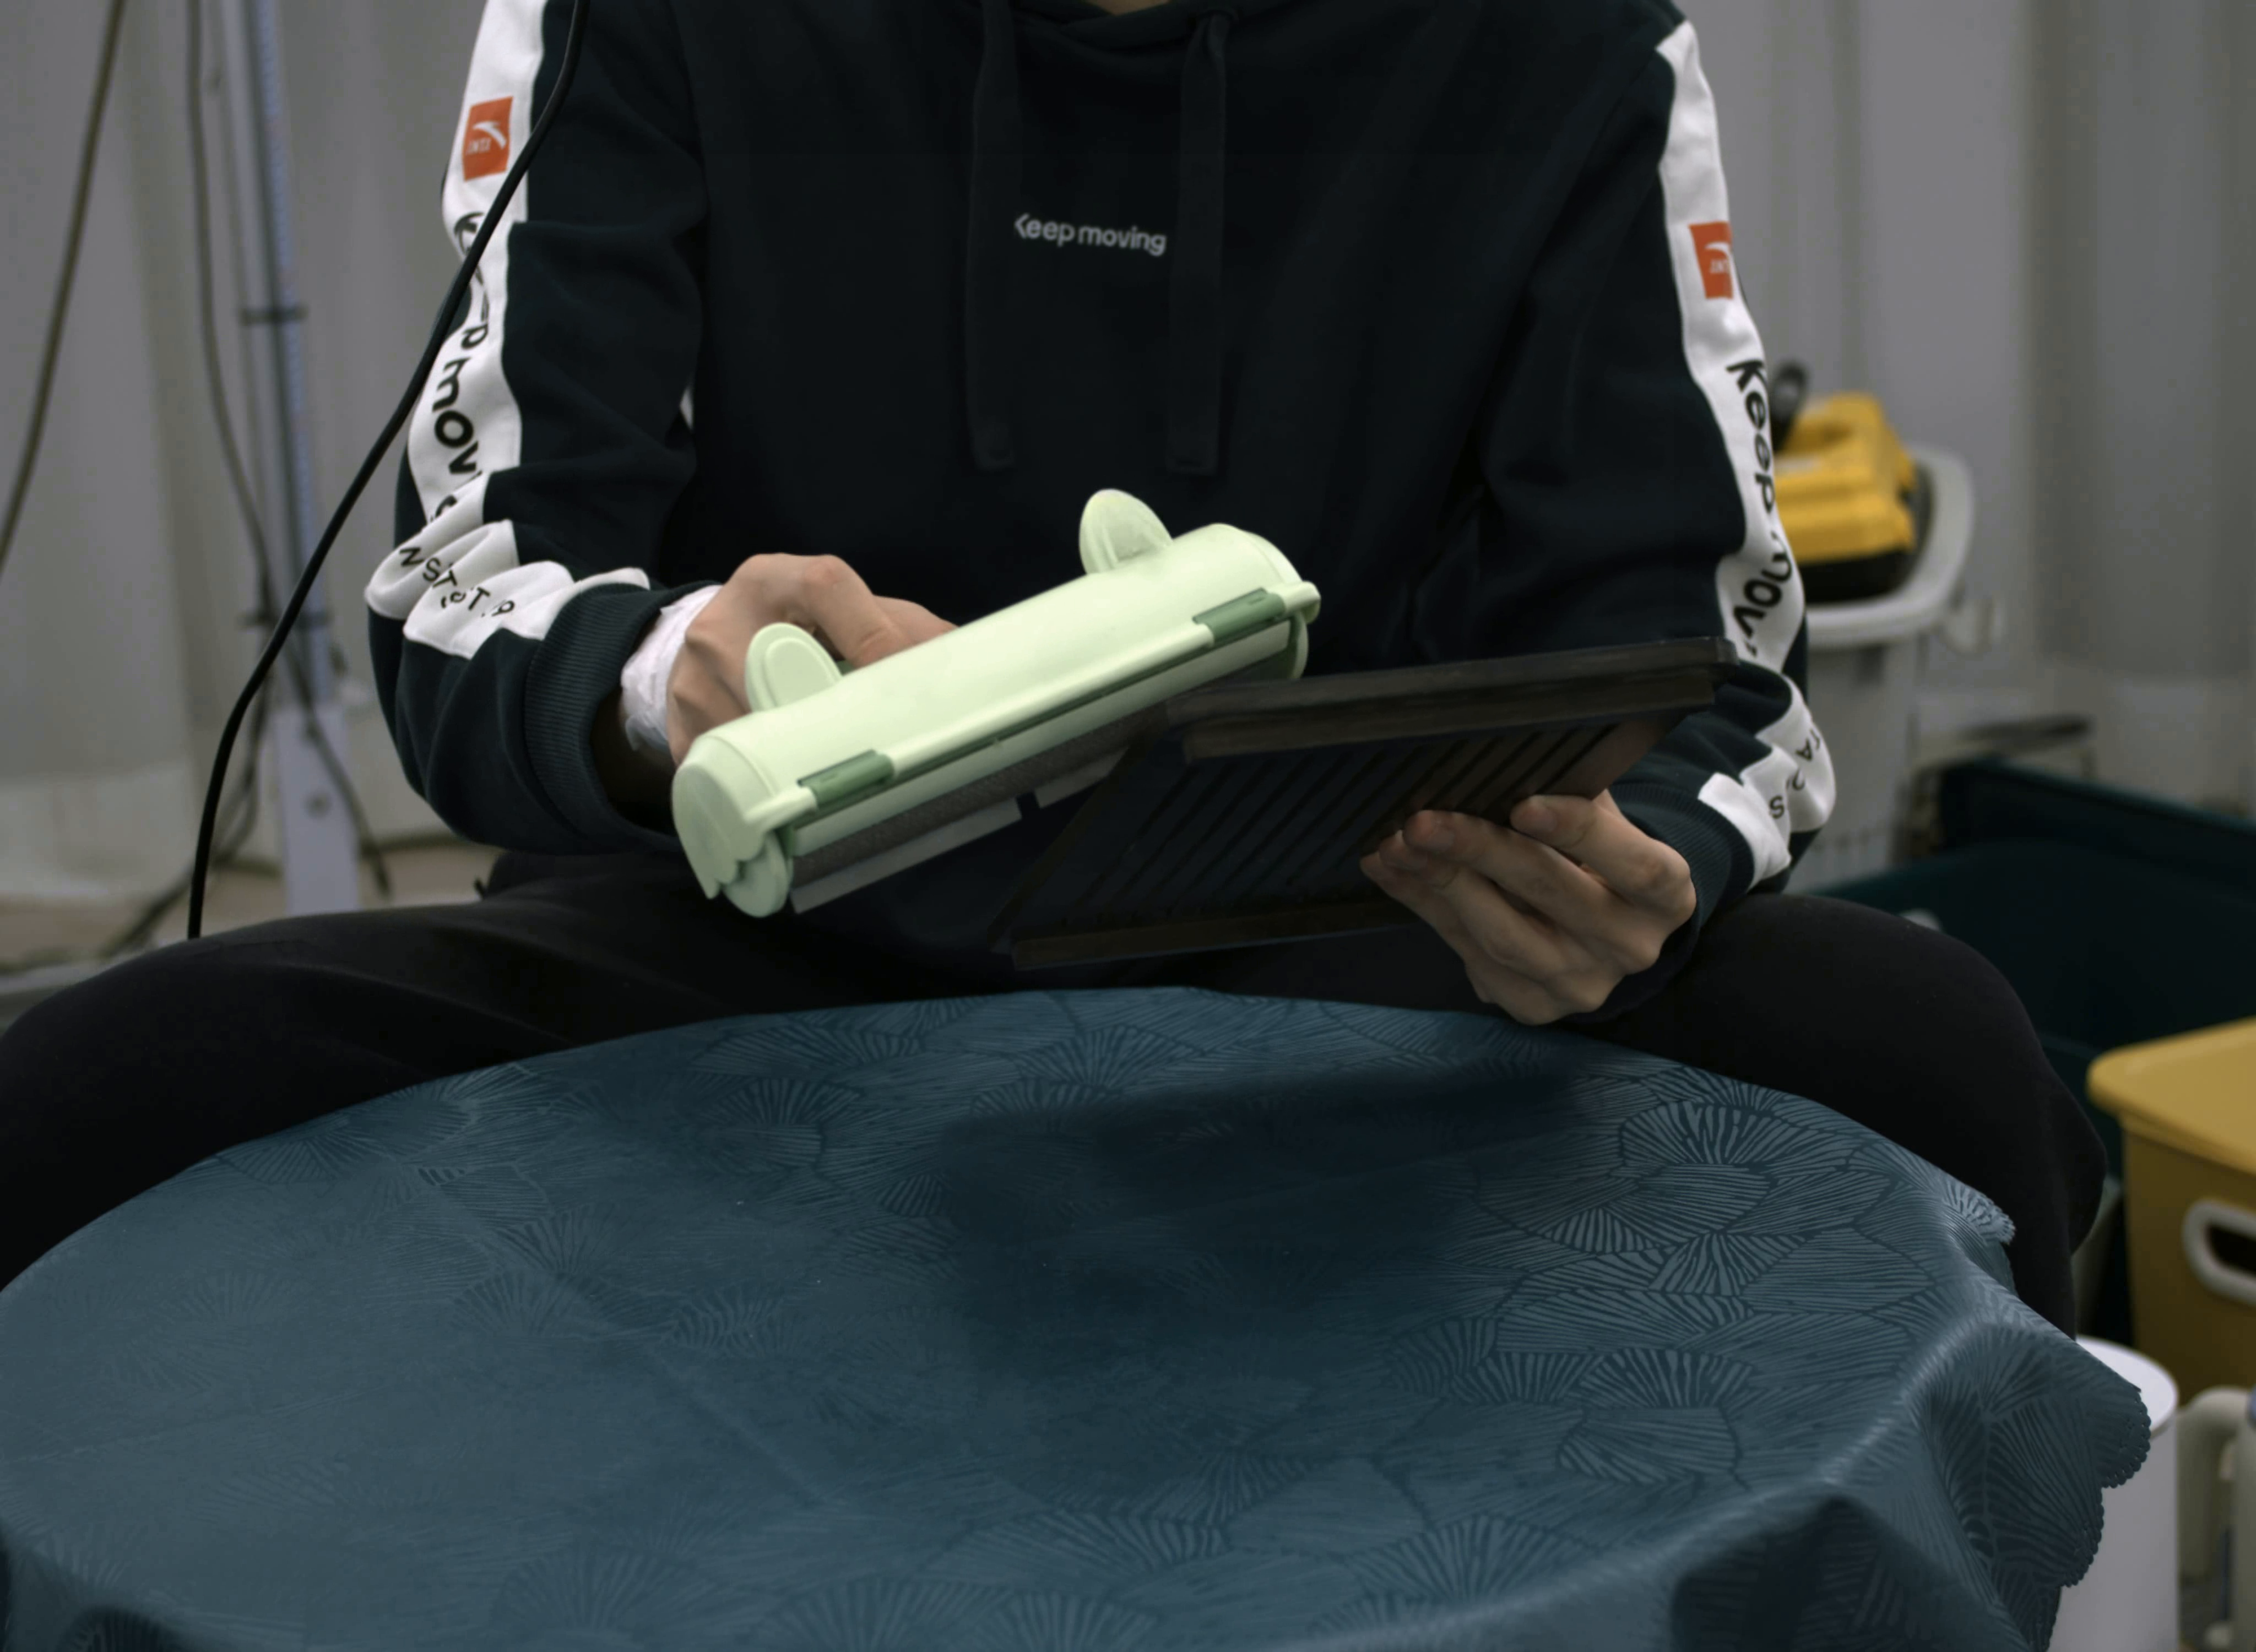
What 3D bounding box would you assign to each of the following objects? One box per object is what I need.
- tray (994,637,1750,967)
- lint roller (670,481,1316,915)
[{"bbox_3d":[0.067,-0.002,1.666,0.169,0.019,0.304,-6,-13,-13],"label":"tray"},{"bbox_3d":[-0.069,-0.048,1.617,0.198,0.081,0.184,-24,21,-27],"label":"lint roller"}]
